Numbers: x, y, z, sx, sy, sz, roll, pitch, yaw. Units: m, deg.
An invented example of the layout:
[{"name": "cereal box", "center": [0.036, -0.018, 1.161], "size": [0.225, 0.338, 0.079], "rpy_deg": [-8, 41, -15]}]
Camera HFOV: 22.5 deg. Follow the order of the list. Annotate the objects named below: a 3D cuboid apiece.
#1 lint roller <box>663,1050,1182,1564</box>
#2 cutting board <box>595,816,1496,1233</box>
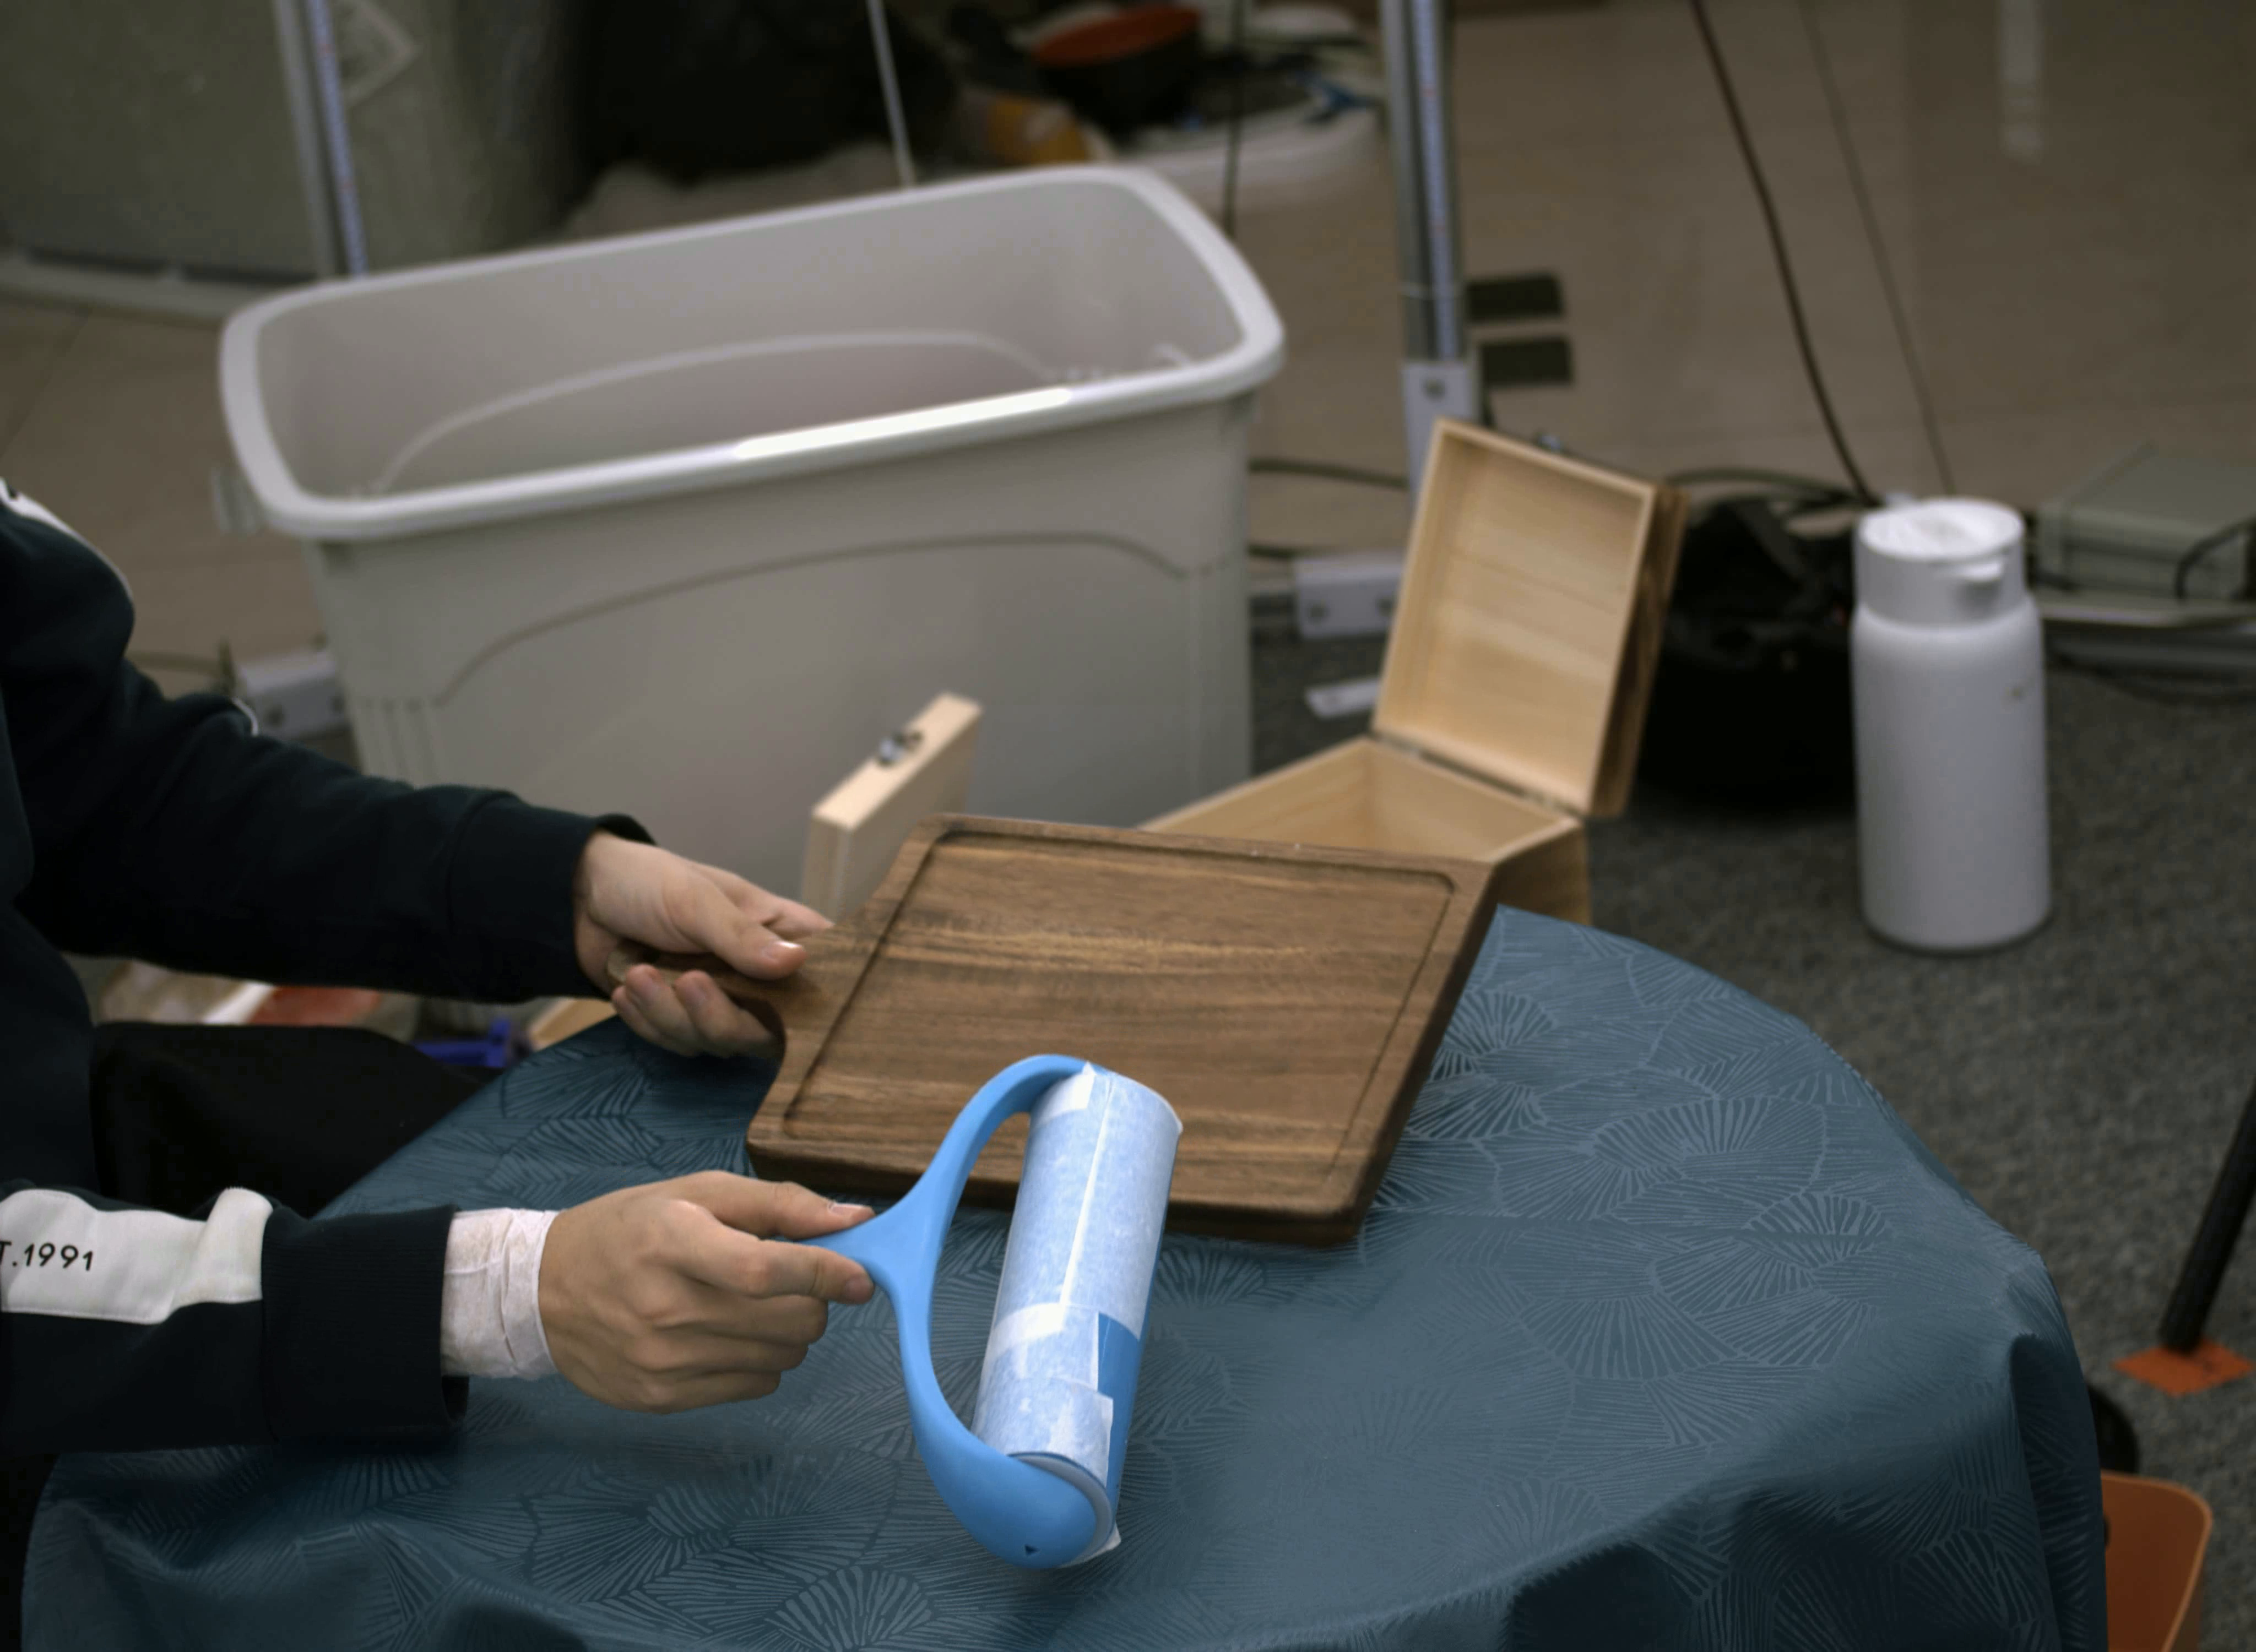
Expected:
[{"name": "lint roller", "center": [-0.076, 0.166, 1.965], "size": [0.180, 0.069, 0.225], "rpy_deg": [-1, 41, 6]}, {"name": "cutting board", "center": [-0.047, 0.069, 2.203], "size": [0.351, 0.023, 0.198], "rpy_deg": [4, 43, 22]}]
